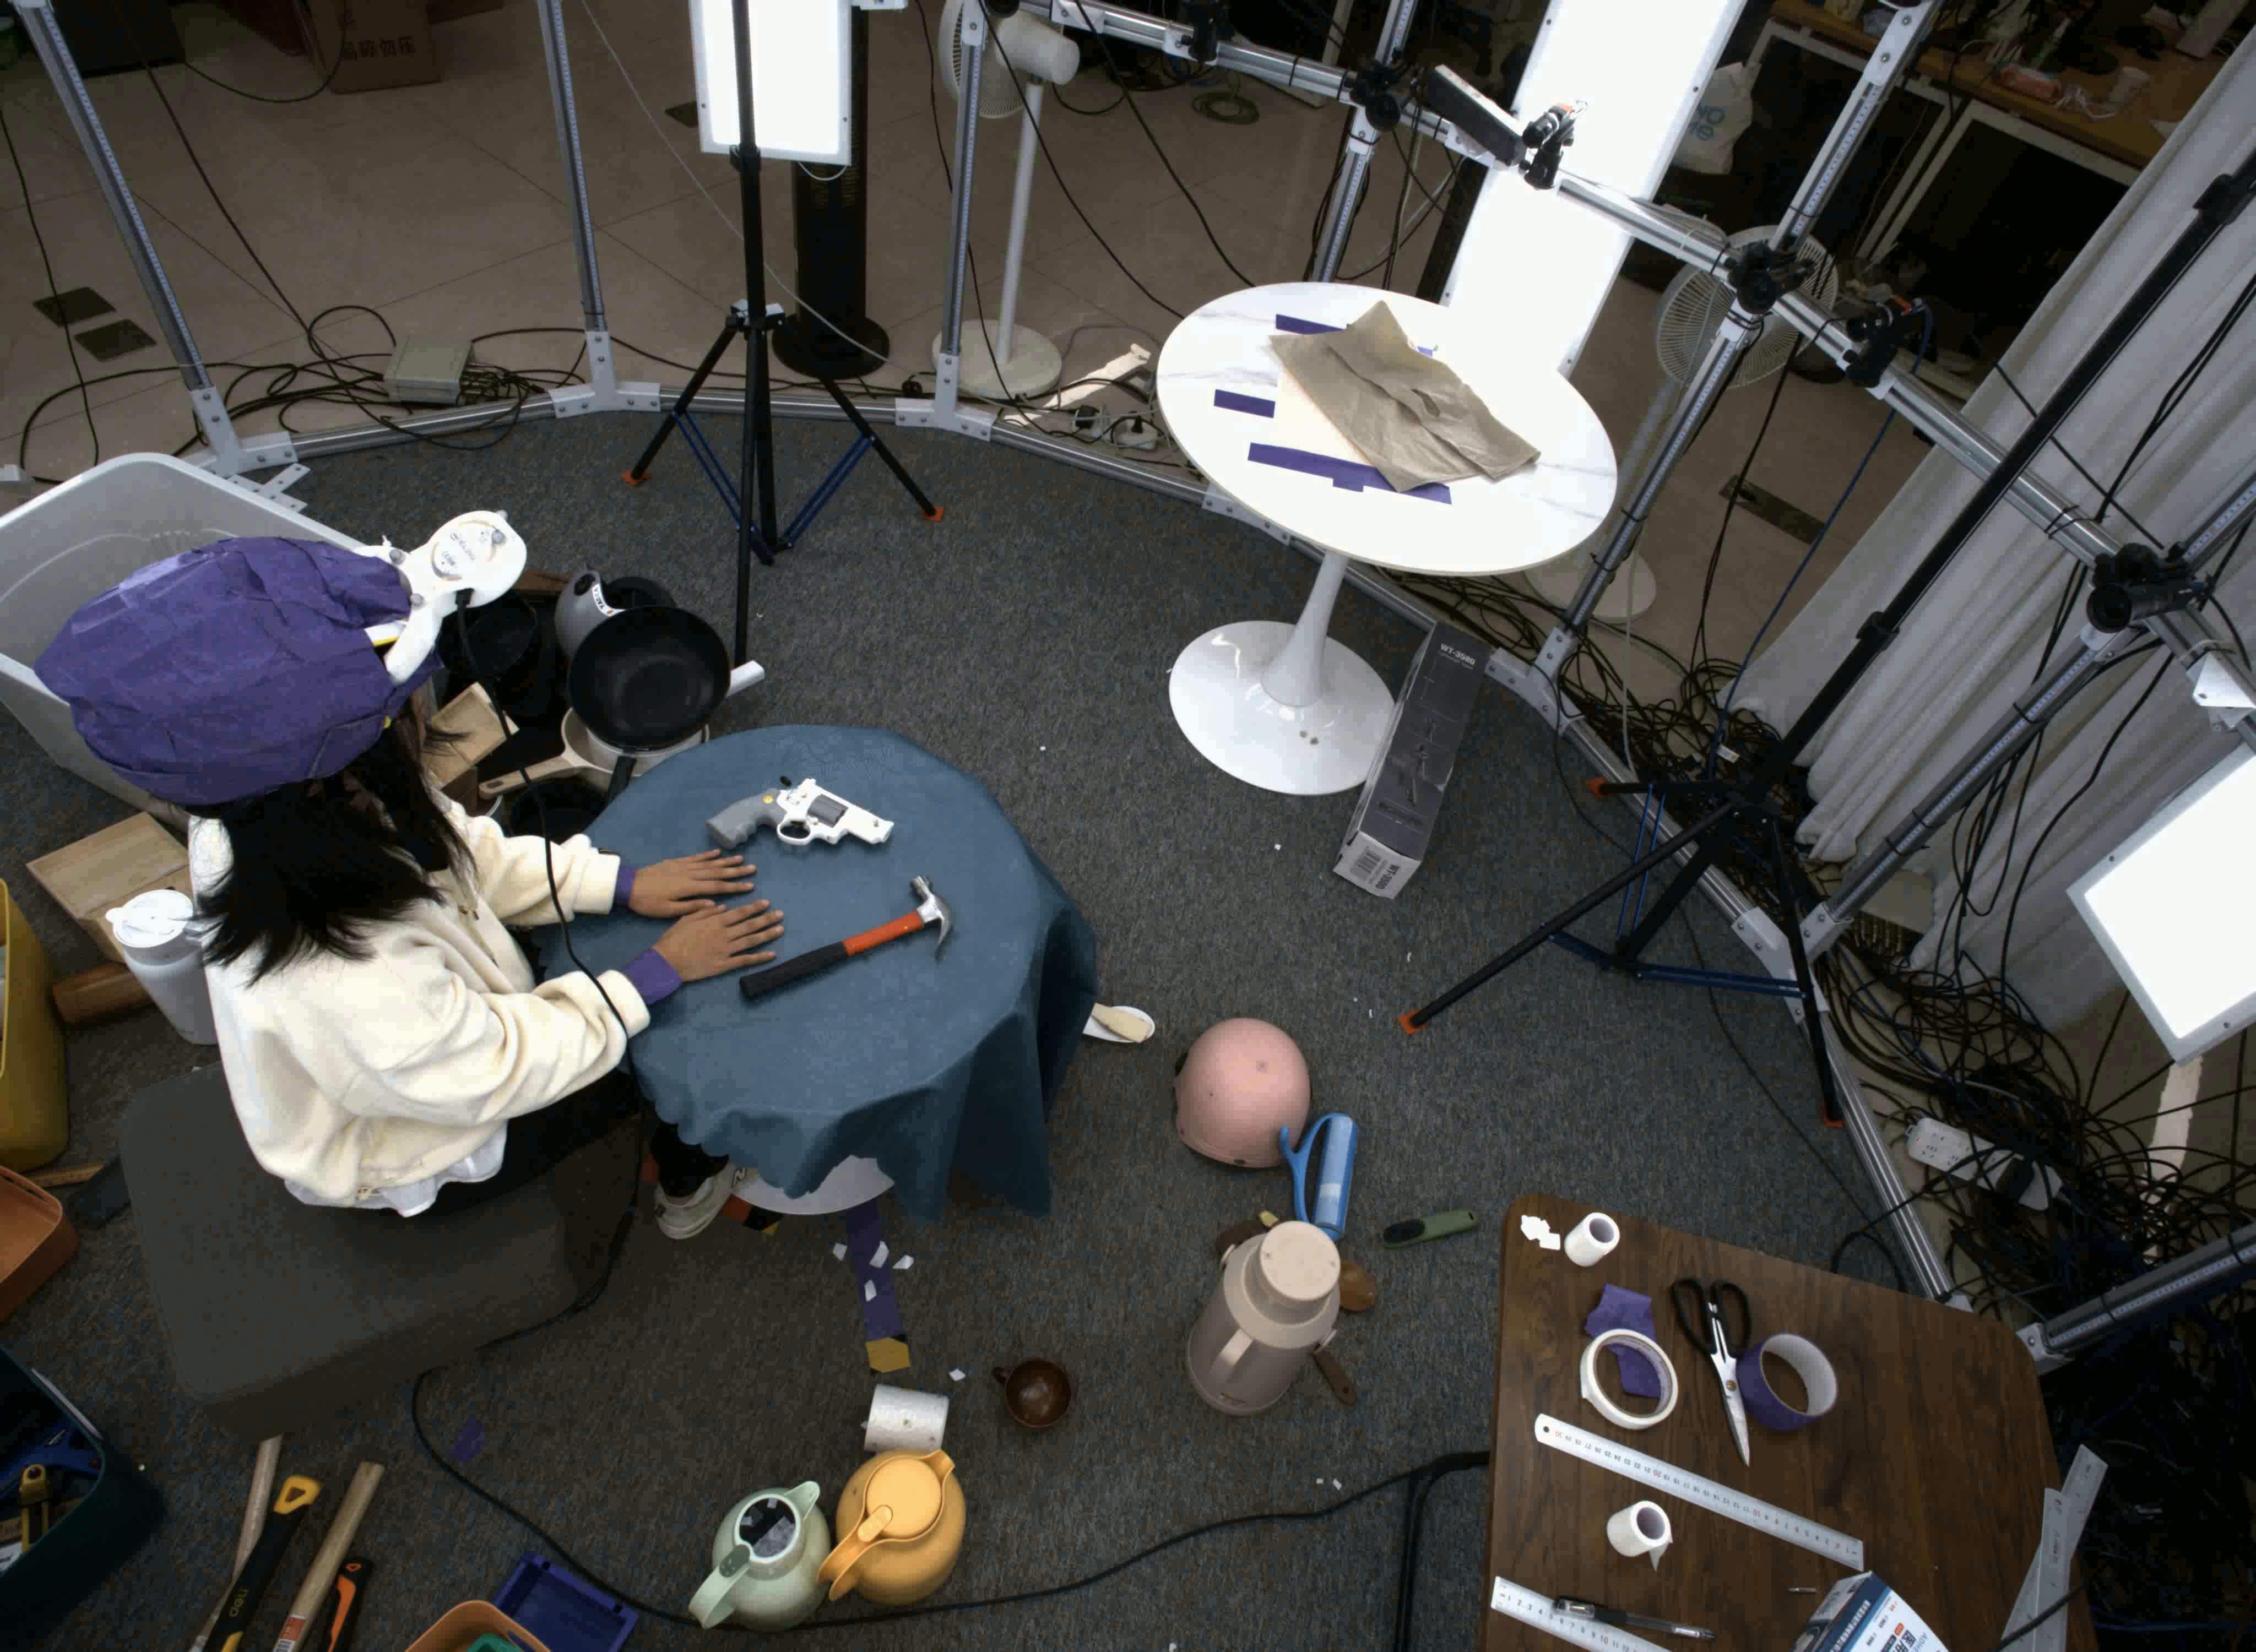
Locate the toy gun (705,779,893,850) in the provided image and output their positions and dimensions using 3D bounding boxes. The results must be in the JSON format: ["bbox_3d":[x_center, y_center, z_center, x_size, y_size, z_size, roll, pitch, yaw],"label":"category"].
[{"bbox_3d":[-0.430,-0.001,1.693,0.206,0.039,0.140,24,50,4],"label":"toy gun"}]

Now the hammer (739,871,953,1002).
[{"bbox_3d":[-0.346,0.149,1.609,0.279,0.026,0.109,-22,72,-27],"label":"hammer"}]
